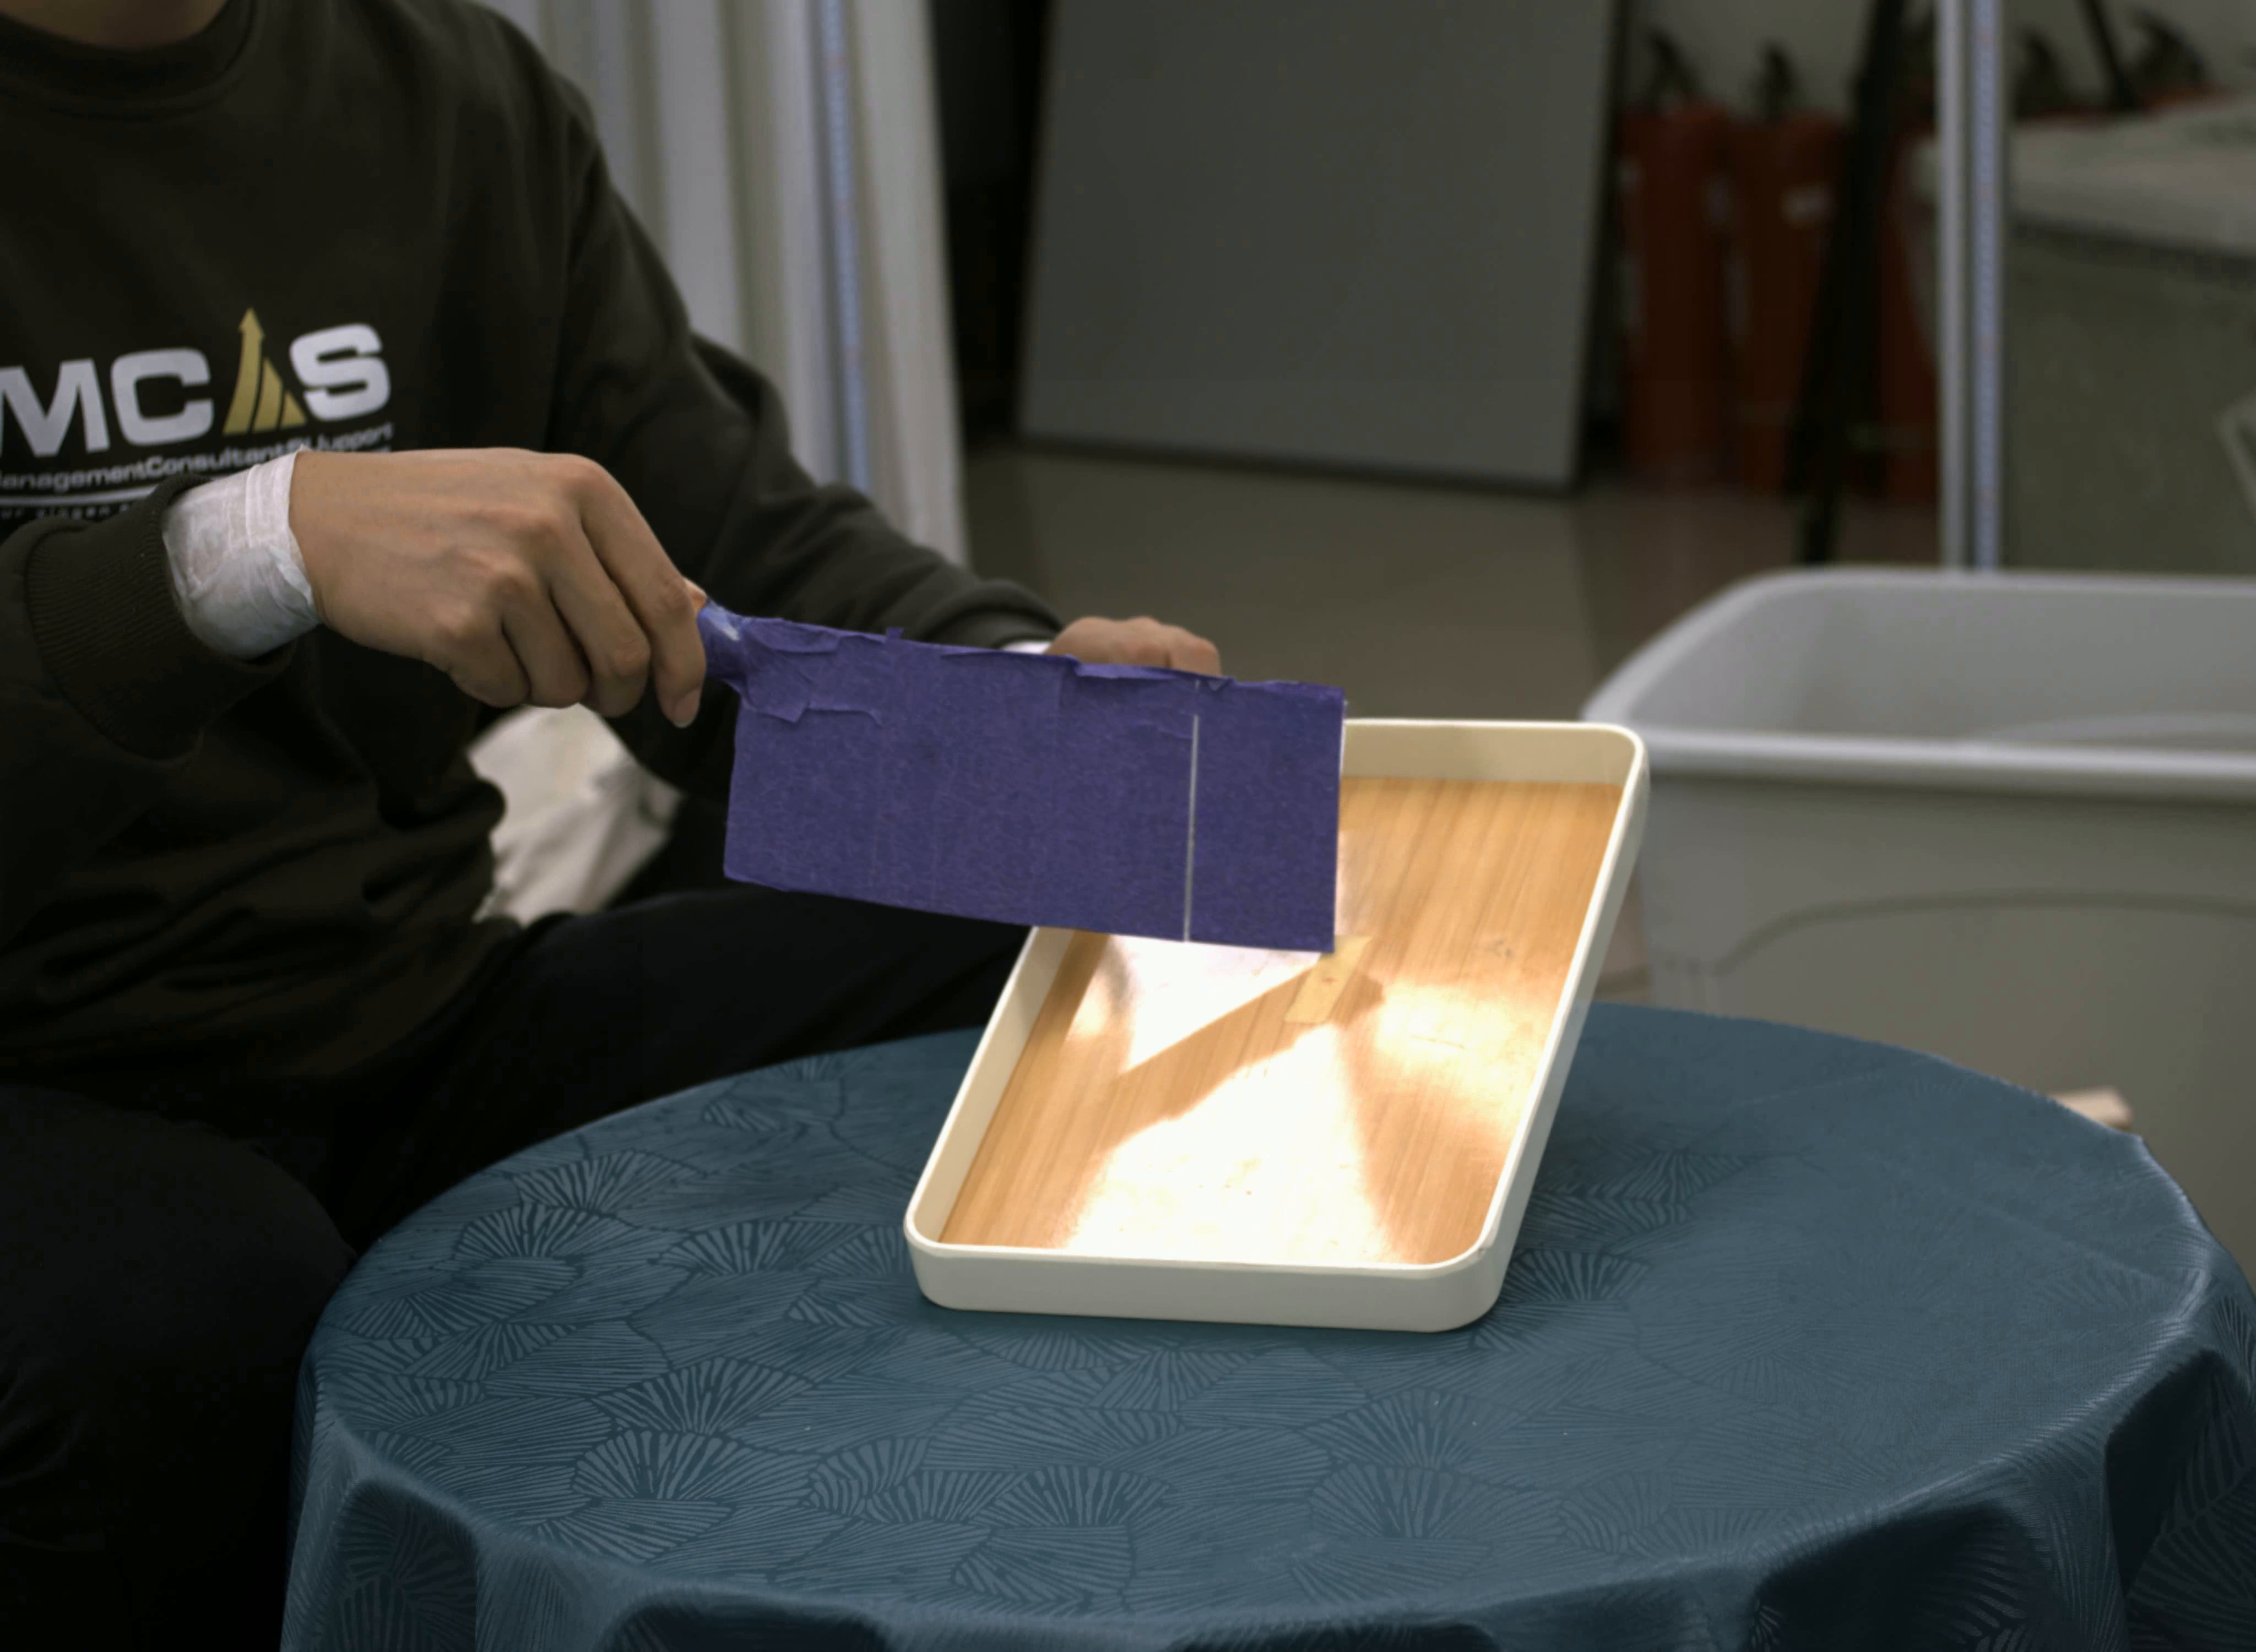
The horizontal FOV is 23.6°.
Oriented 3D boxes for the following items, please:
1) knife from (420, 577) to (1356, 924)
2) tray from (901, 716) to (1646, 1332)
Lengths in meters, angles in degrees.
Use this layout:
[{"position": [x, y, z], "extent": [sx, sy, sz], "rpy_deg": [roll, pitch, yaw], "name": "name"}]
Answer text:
[{"position": [-0.076, -0.023, 1.762], "extent": [0.310, 0.105, 0.032], "rpy_deg": [5, -14, -8], "name": "knife"}, {"position": [0.054, 0.058, 1.753], "extent": [0.191, 0.027, 0.300], "rpy_deg": [0, 35, 19], "name": "tray"}]
